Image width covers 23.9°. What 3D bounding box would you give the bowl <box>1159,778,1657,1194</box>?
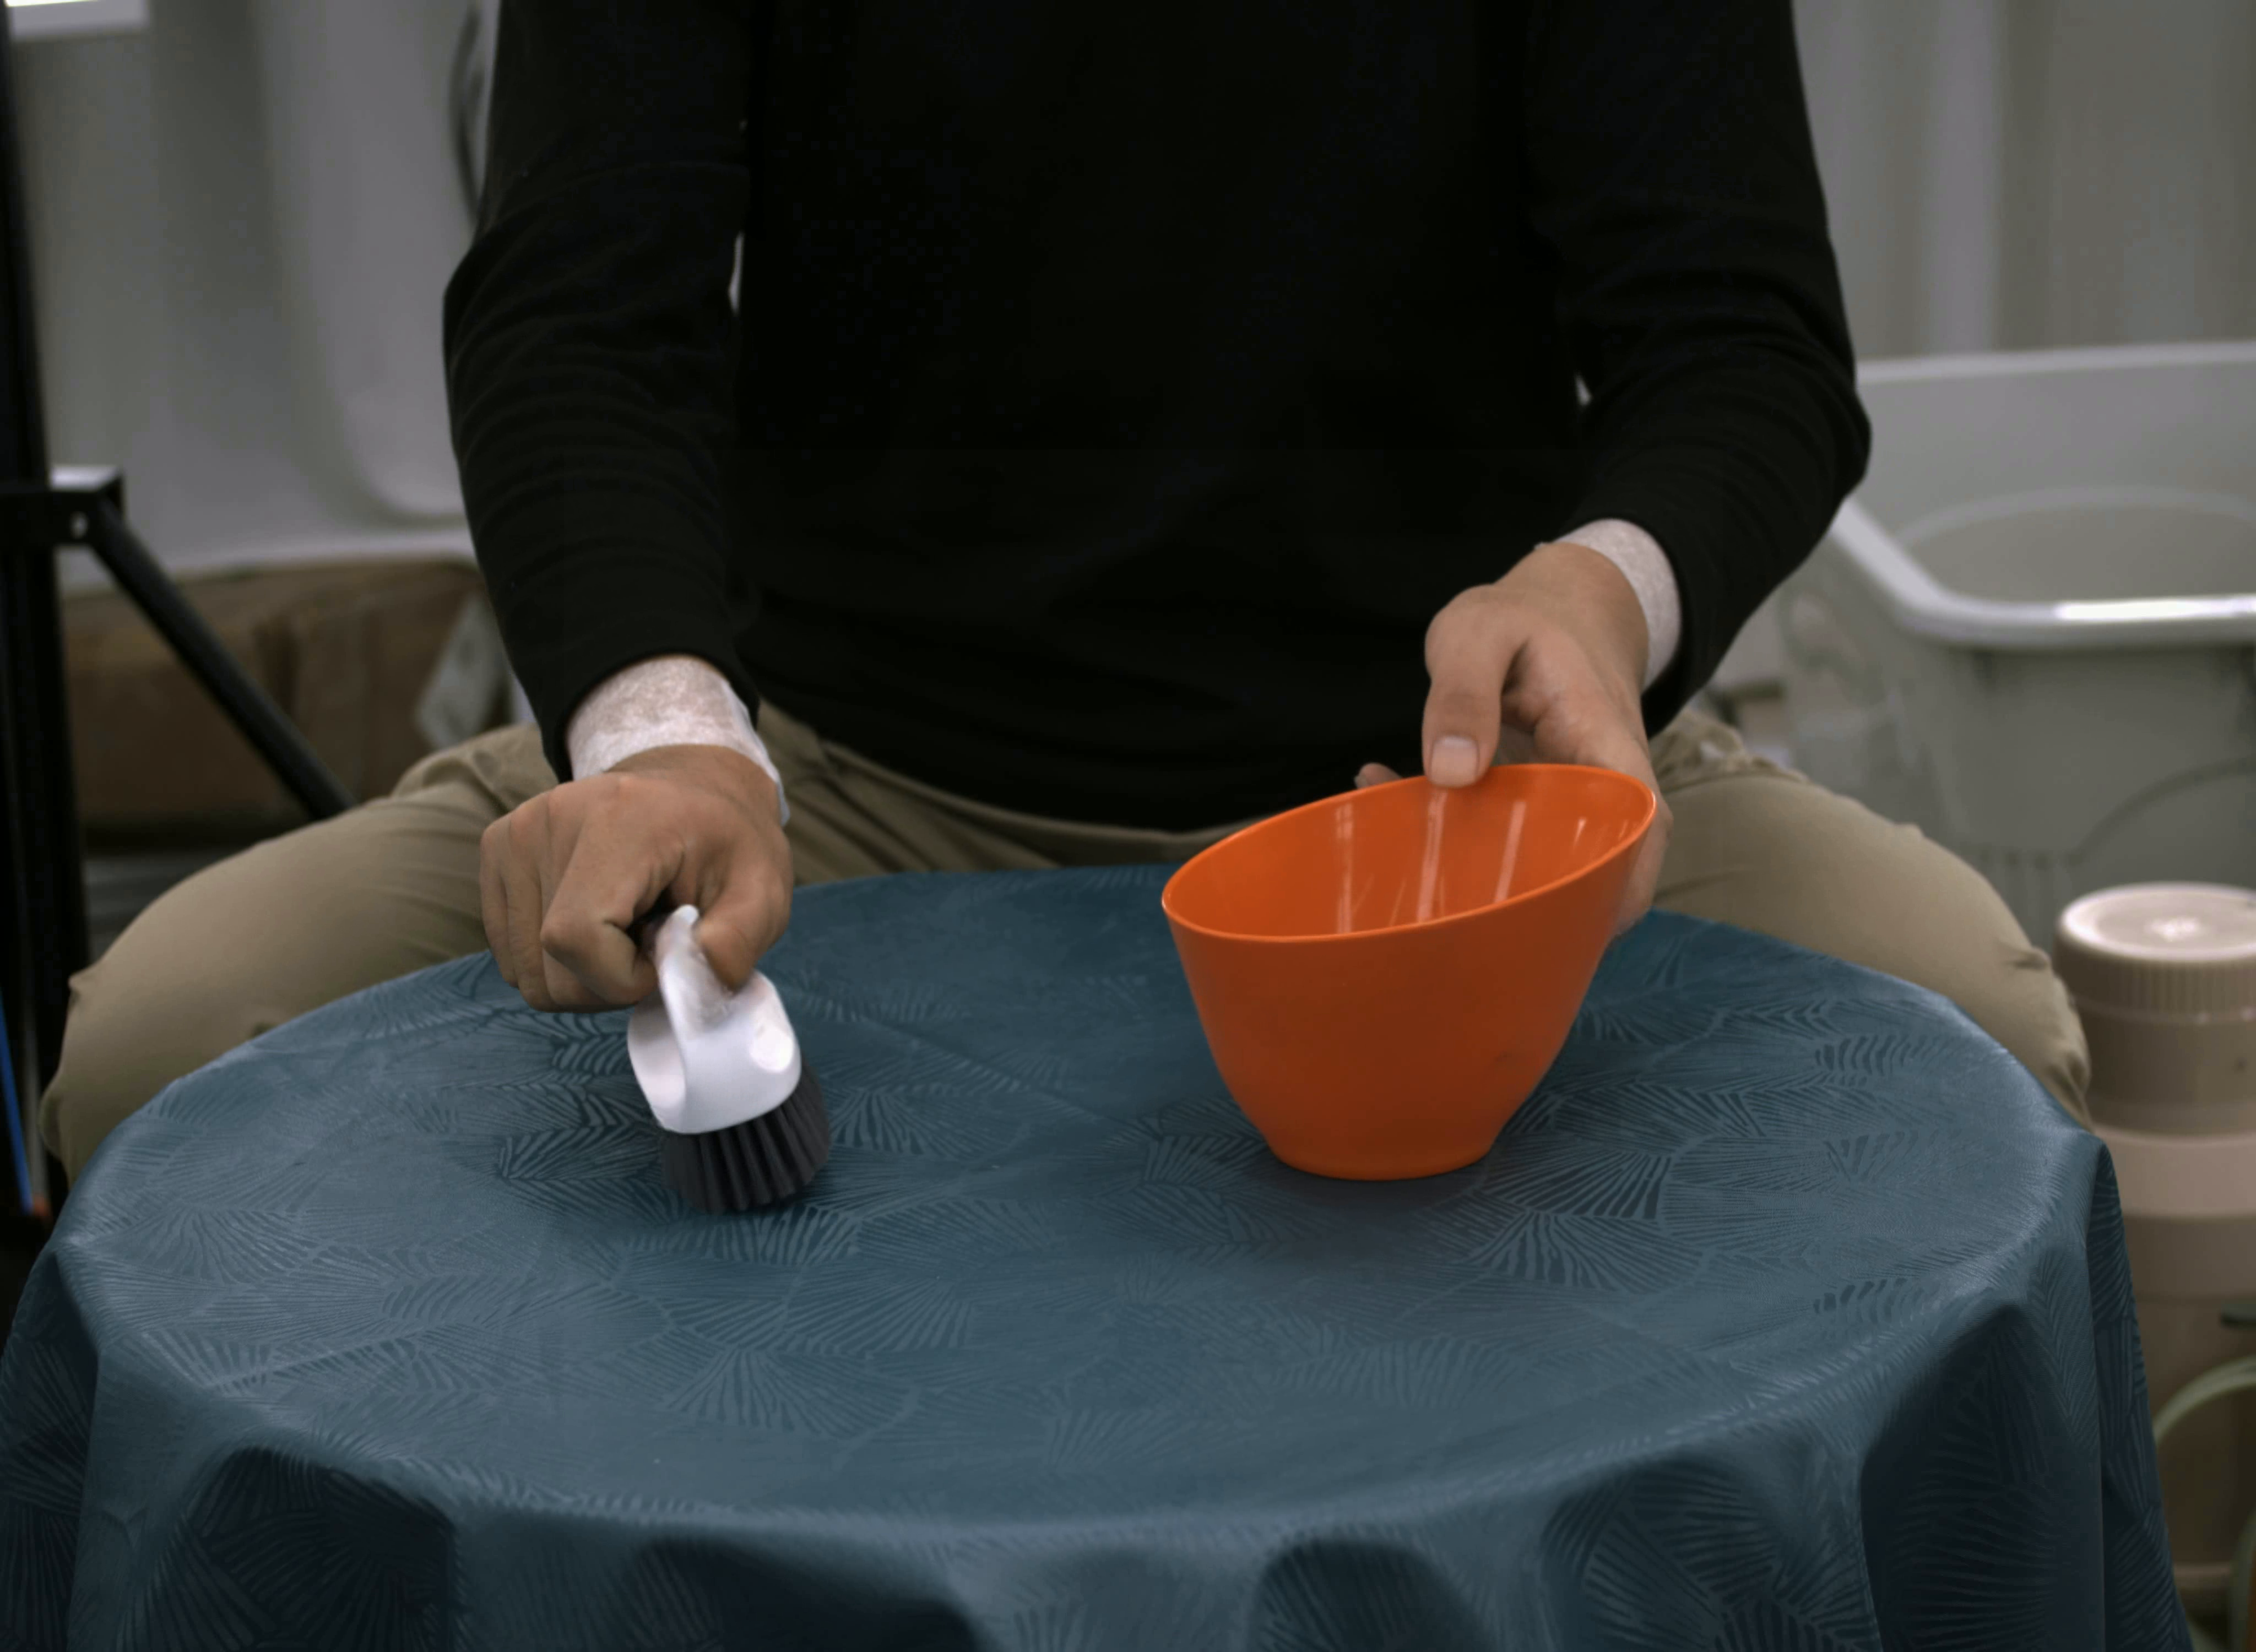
[{"bbox_3d":[0.084,0.049,1.572,0.147,0.104,0.149,-3,14,-1],"label":"bowl"}]

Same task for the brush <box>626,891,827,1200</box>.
[{"bbox_3d":[-0.126,0.058,1.585,0.050,0.072,0.100,-21,22,-1],"label":"brush"}]
